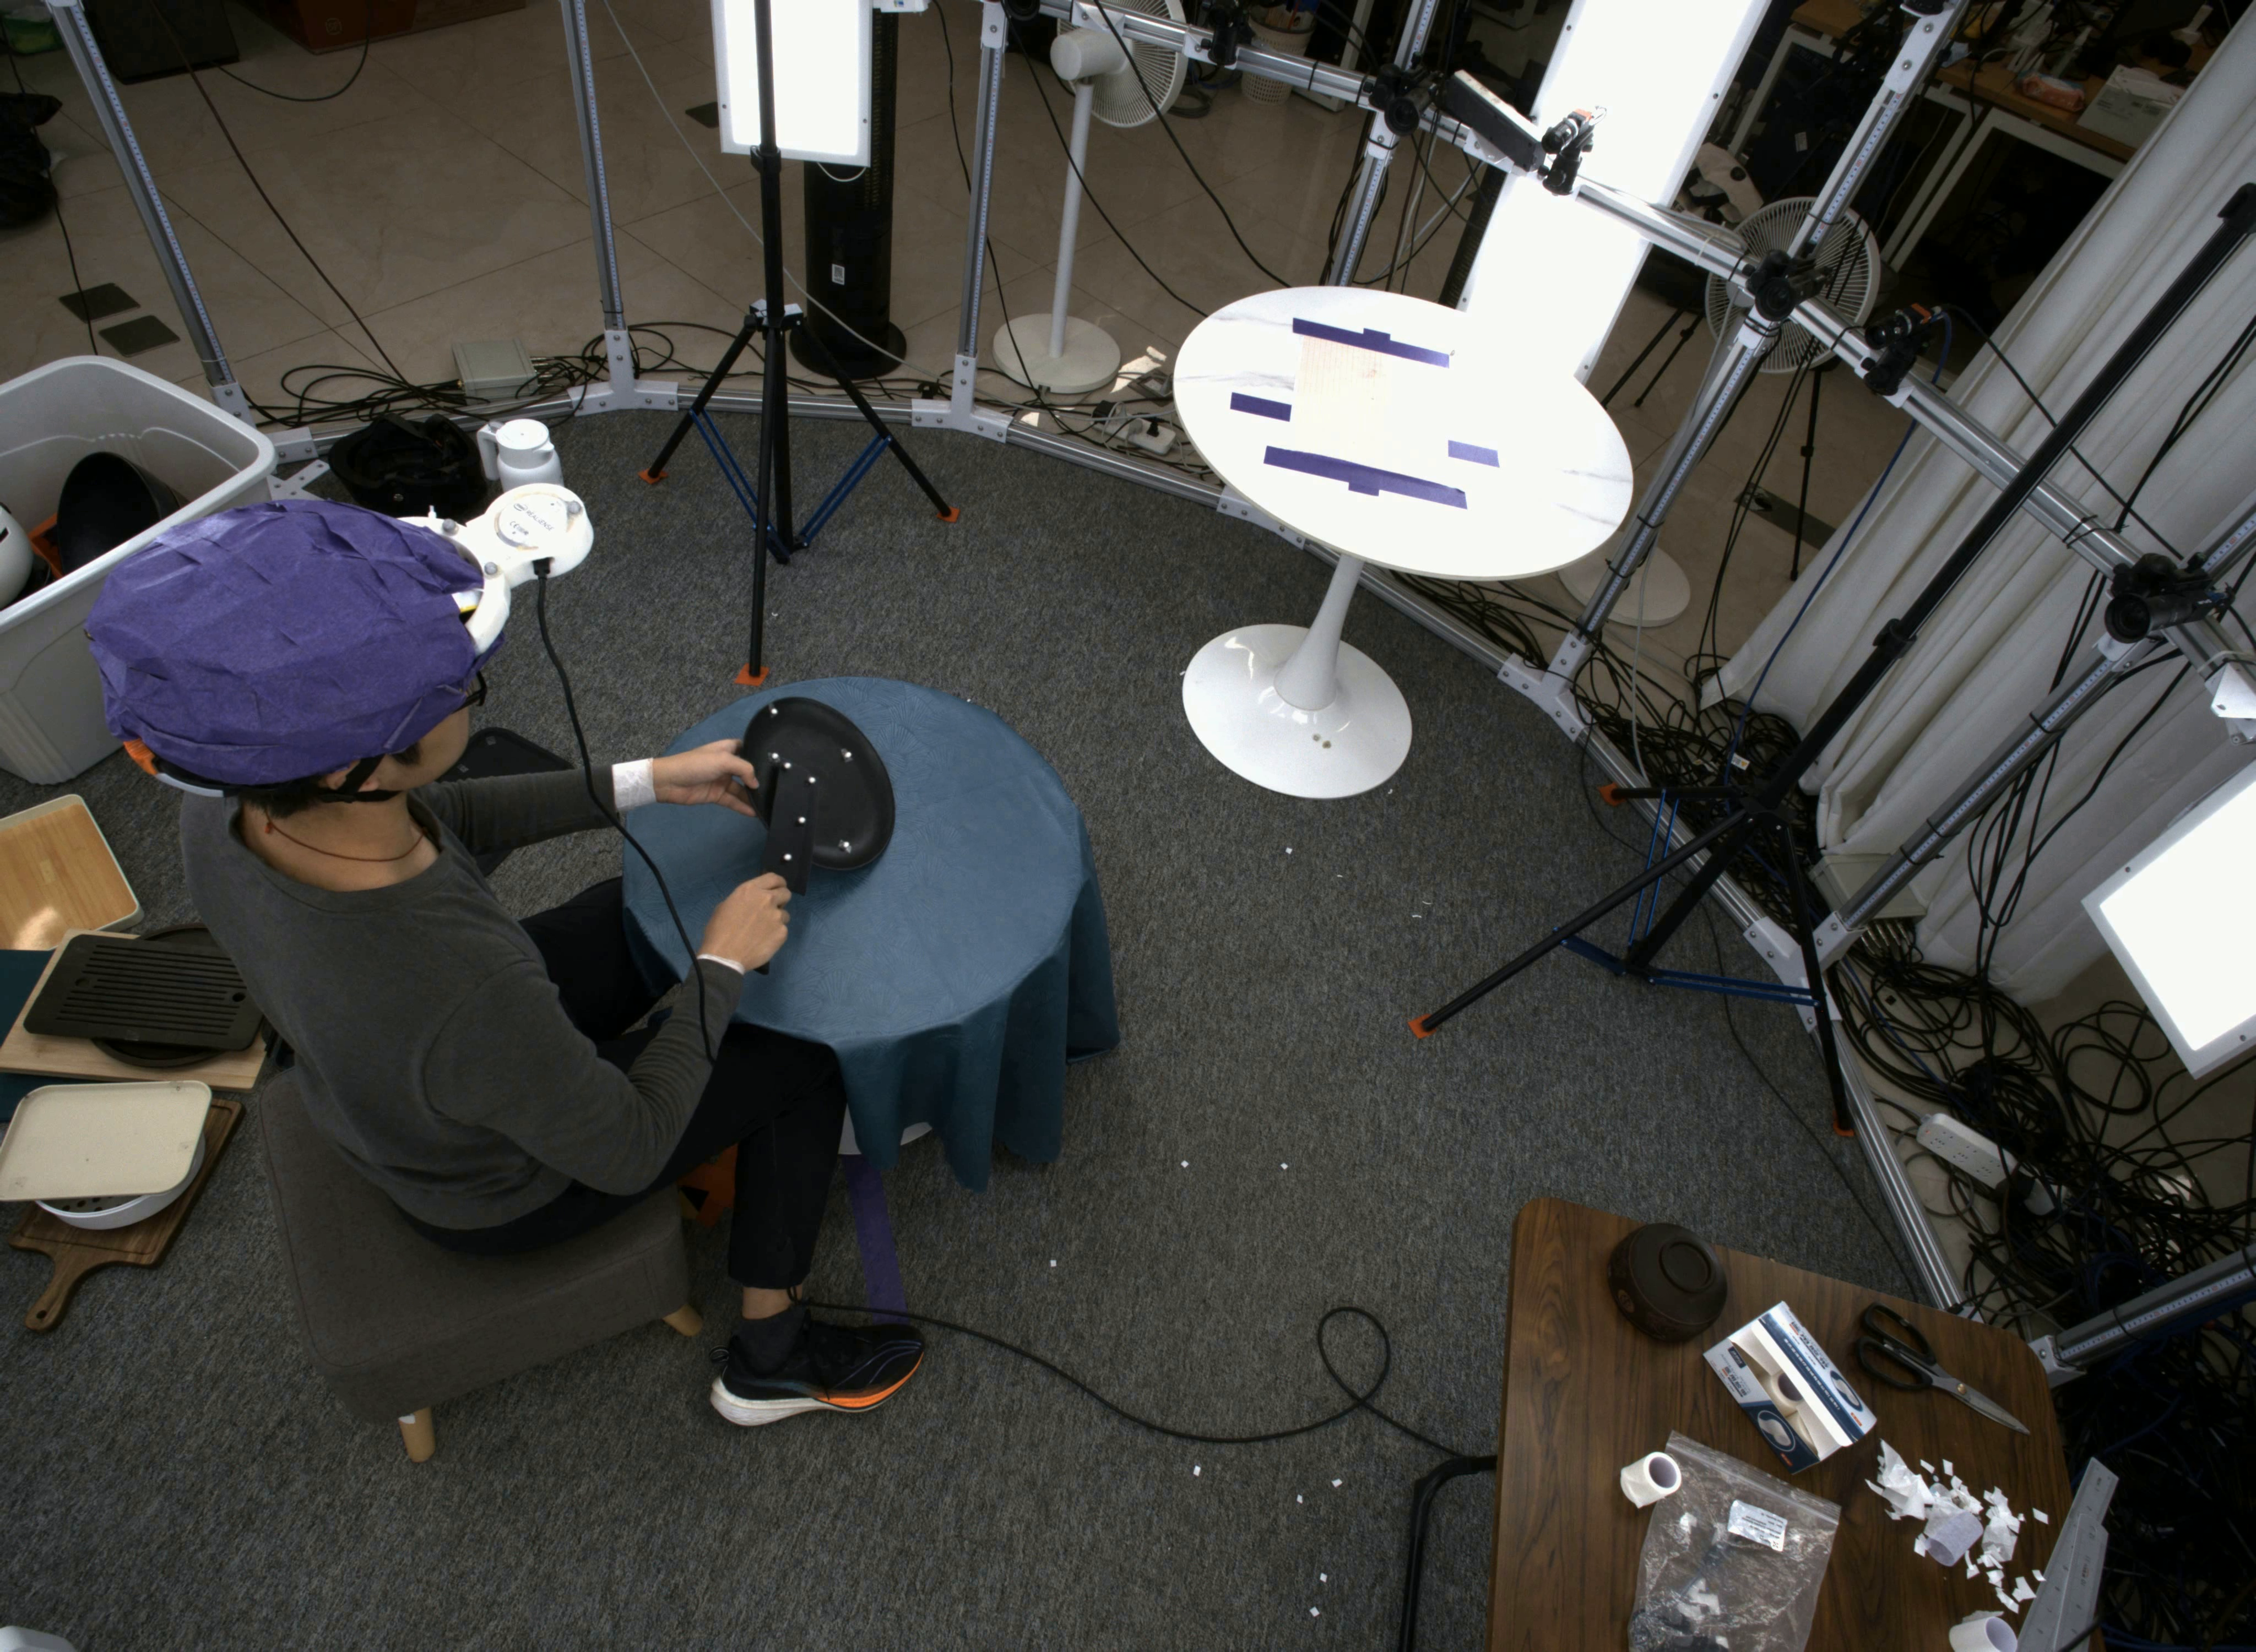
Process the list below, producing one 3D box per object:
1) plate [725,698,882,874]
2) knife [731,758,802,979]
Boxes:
[{"bbox_3d":[-0.423,-0.051,1.683,0.252,0.023,0.240,35,44,-38],"label":"plate"},{"bbox_3d":[-0.440,0.047,1.578,0.083,0.020,0.297,34,43,-37],"label":"knife"}]
